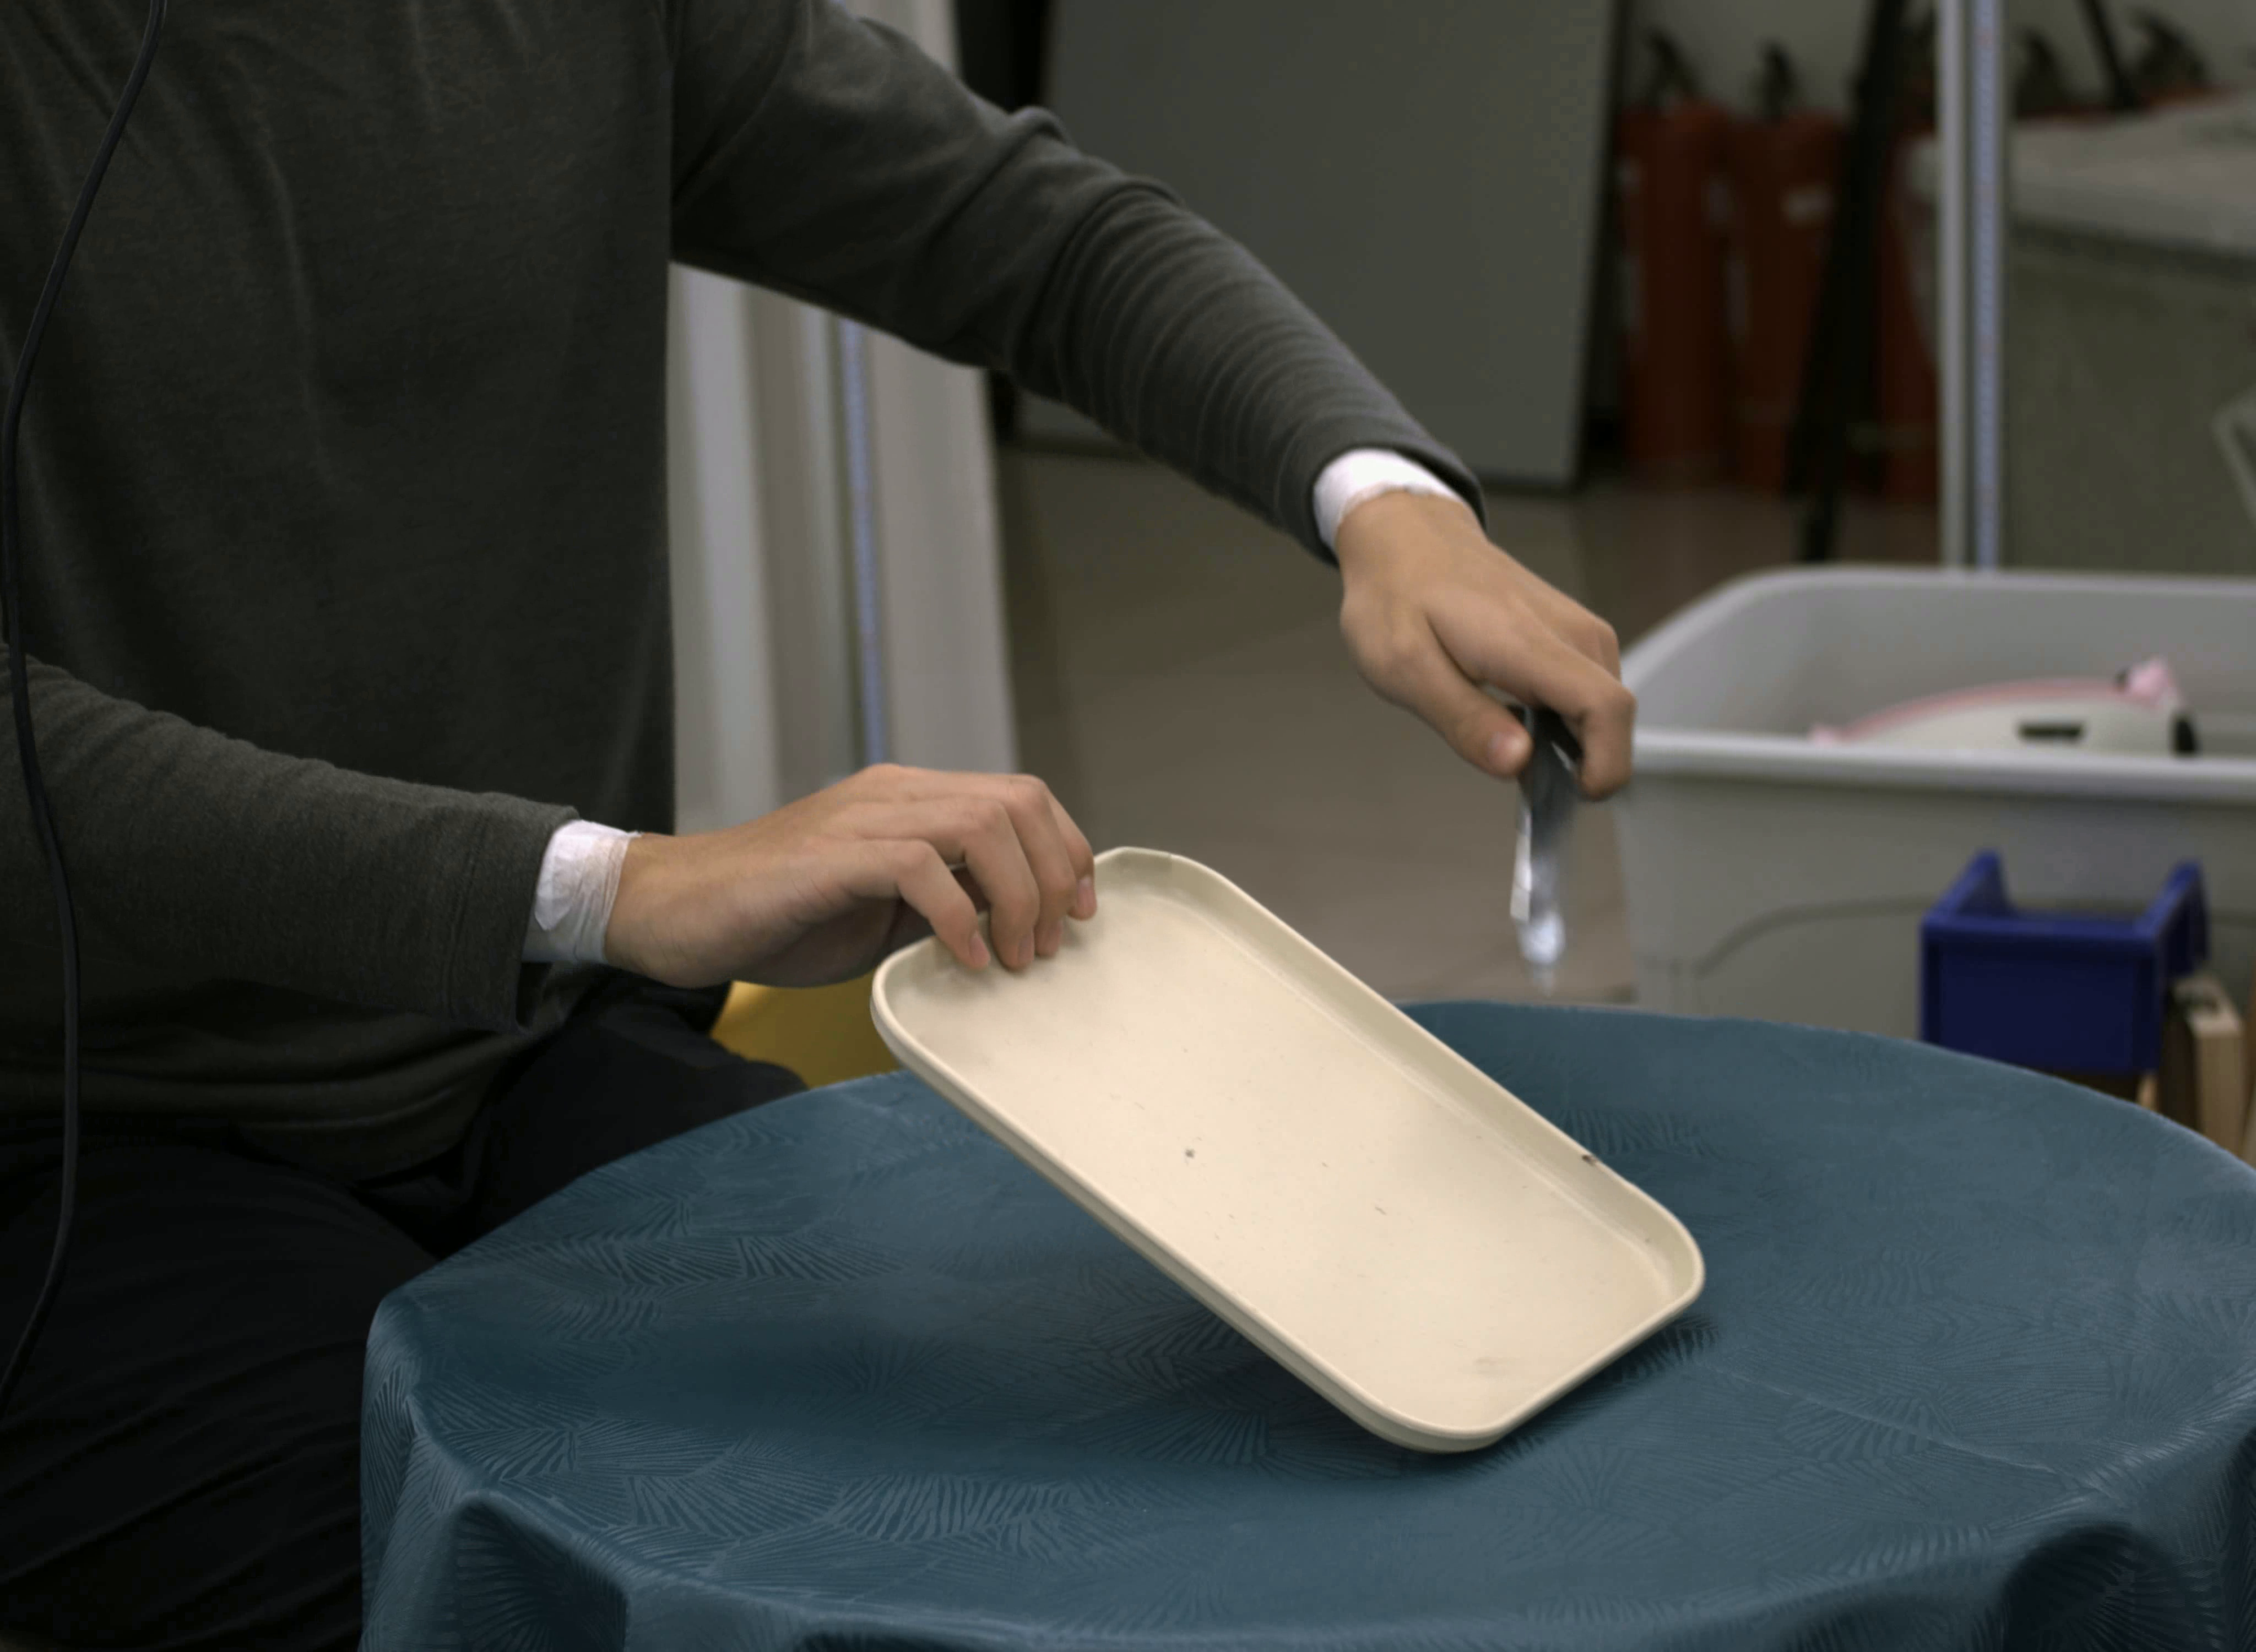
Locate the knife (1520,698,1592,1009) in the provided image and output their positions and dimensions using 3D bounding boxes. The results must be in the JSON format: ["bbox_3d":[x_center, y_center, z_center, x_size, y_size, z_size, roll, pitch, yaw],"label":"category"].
[{"bbox_3d":[0.136,0.007,1.712,0.024,0.016,0.238,33,21,-10],"label":"knife"}]

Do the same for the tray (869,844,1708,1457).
[{"bbox_3d":[0.047,0.094,1.602,0.241,0.017,0.168,37,35,23],"label":"tray"}]
